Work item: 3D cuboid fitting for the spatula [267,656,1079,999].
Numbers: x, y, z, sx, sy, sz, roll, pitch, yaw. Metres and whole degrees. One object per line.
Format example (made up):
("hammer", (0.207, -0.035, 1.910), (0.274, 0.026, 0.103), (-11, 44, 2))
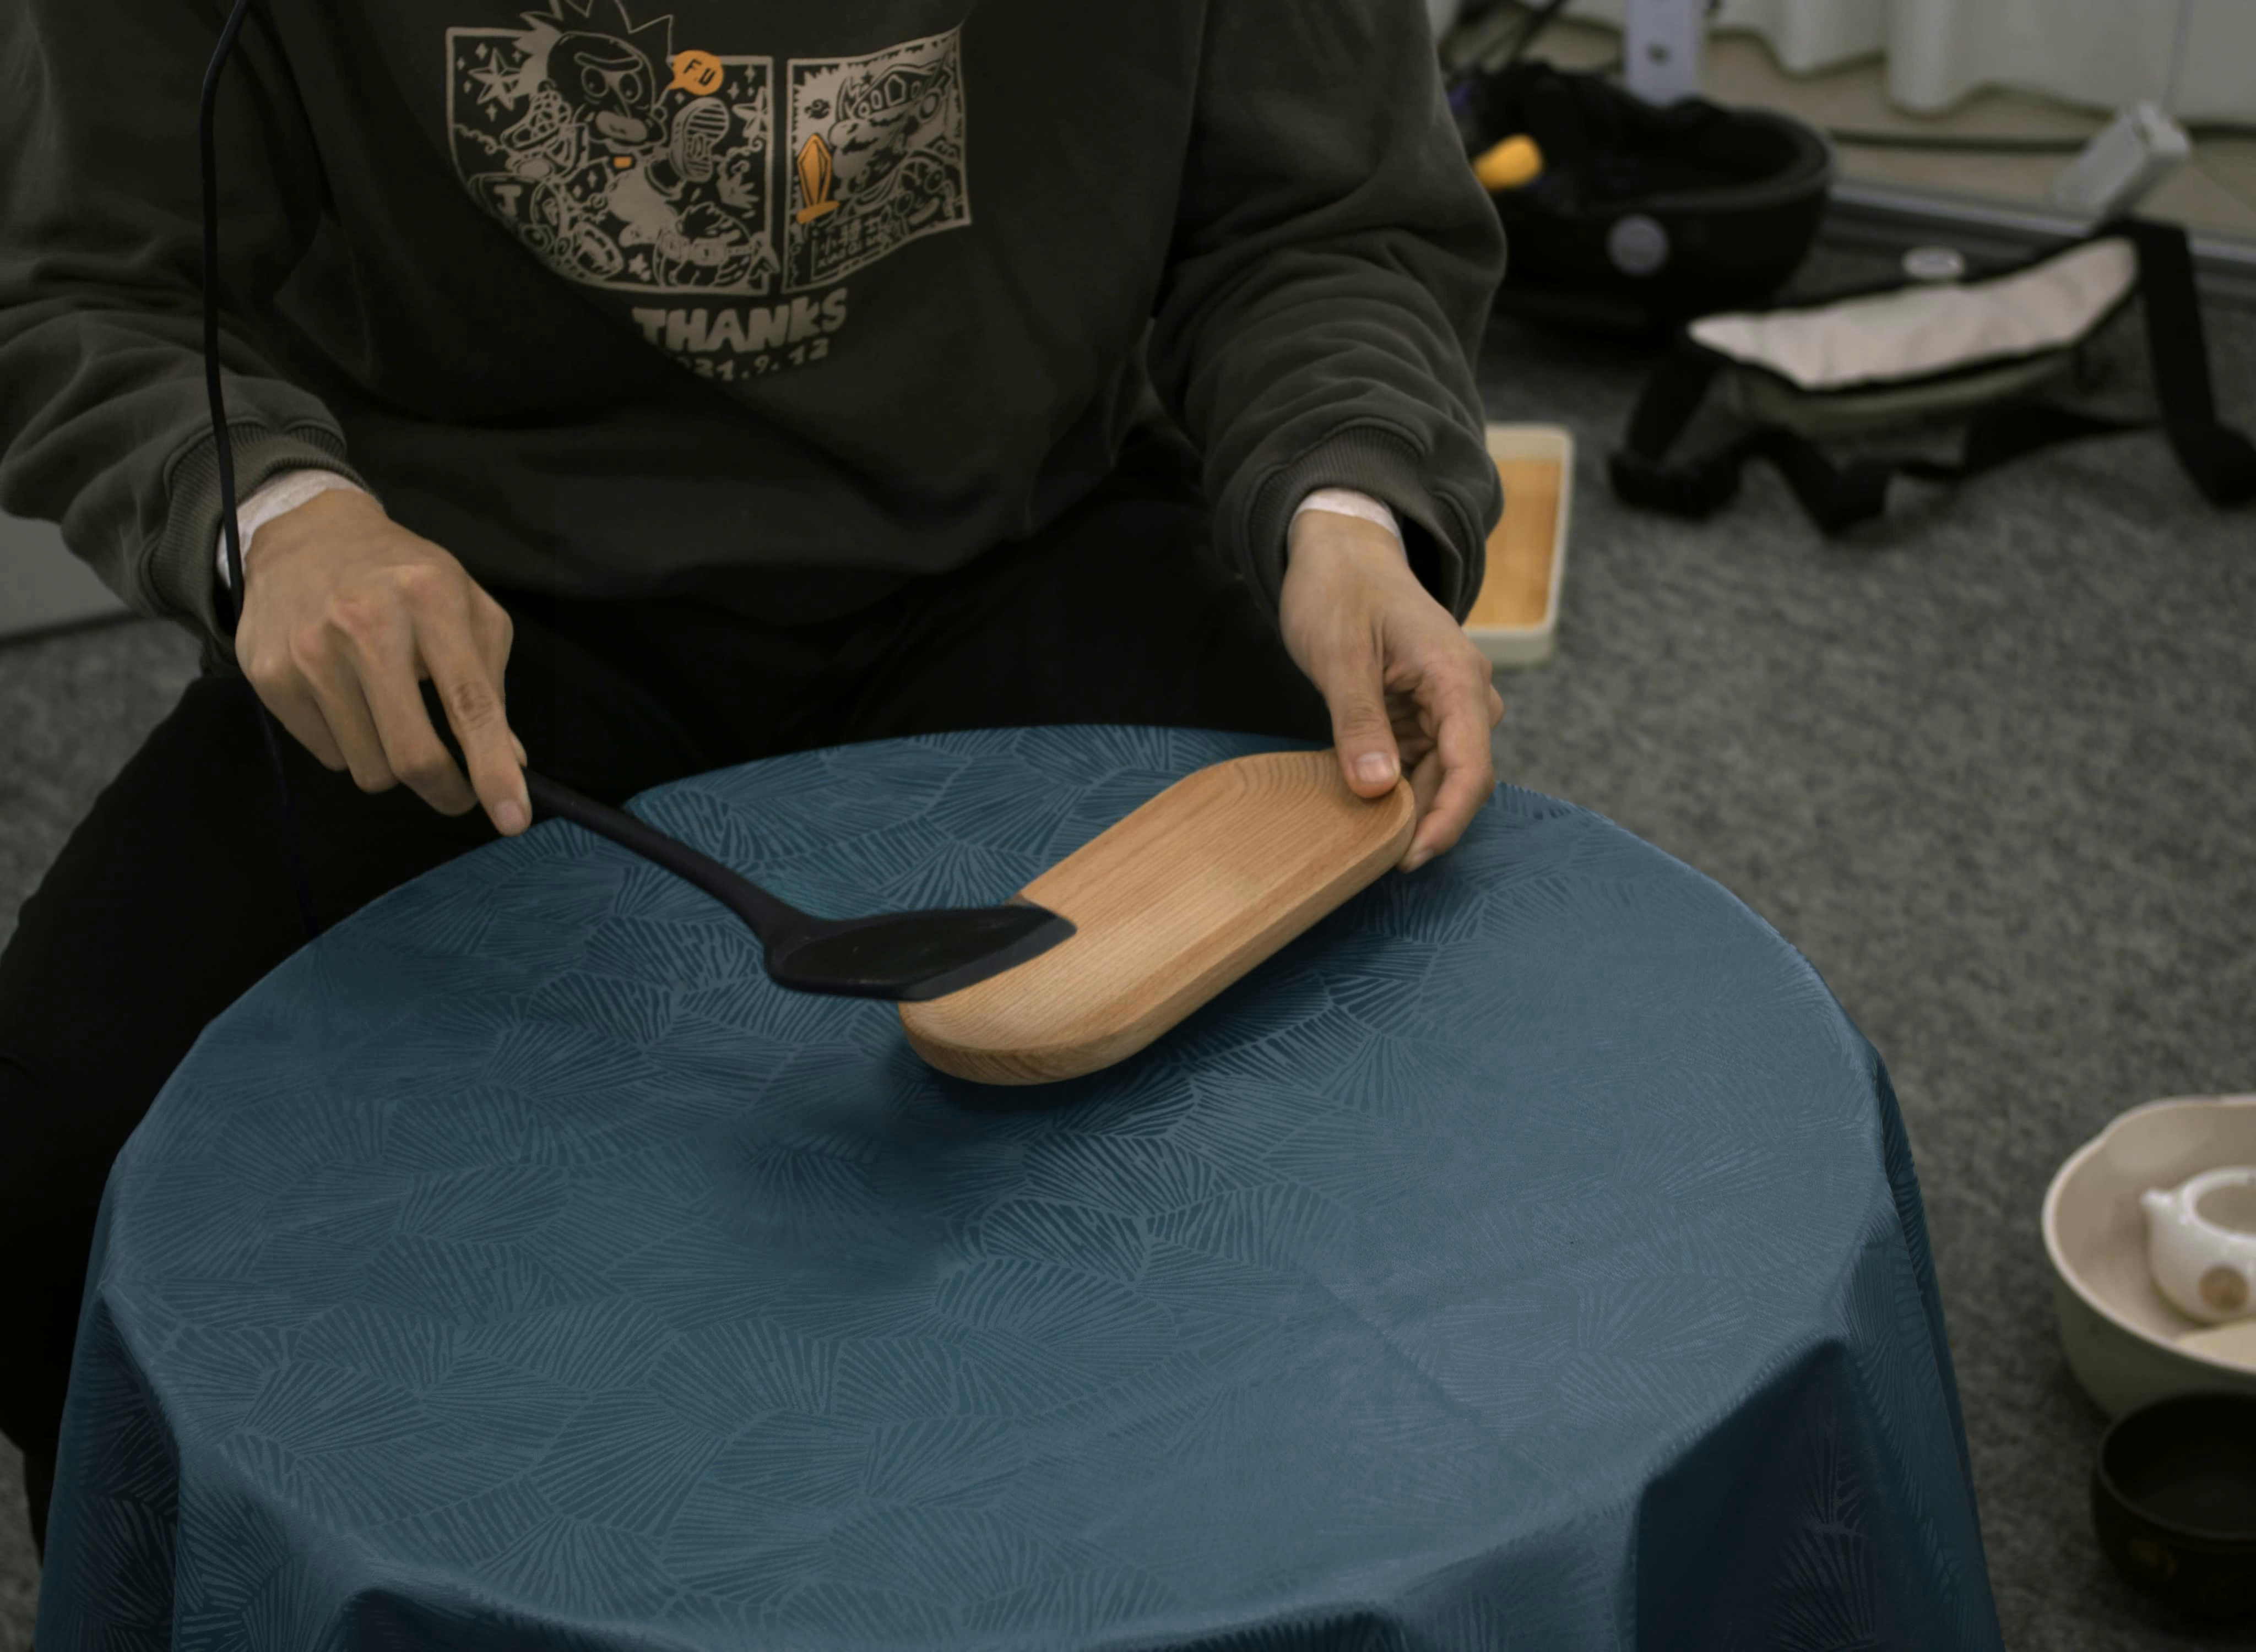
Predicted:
("spatula", (-0.170, -0.004, 1.924), (0.326, 0.040, 0.101), (27, 26, 25))

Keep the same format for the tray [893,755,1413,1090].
("tray", (0.011, 0.032, 1.980), (0.101, 0.020, 0.234), (14, 35, 38))
